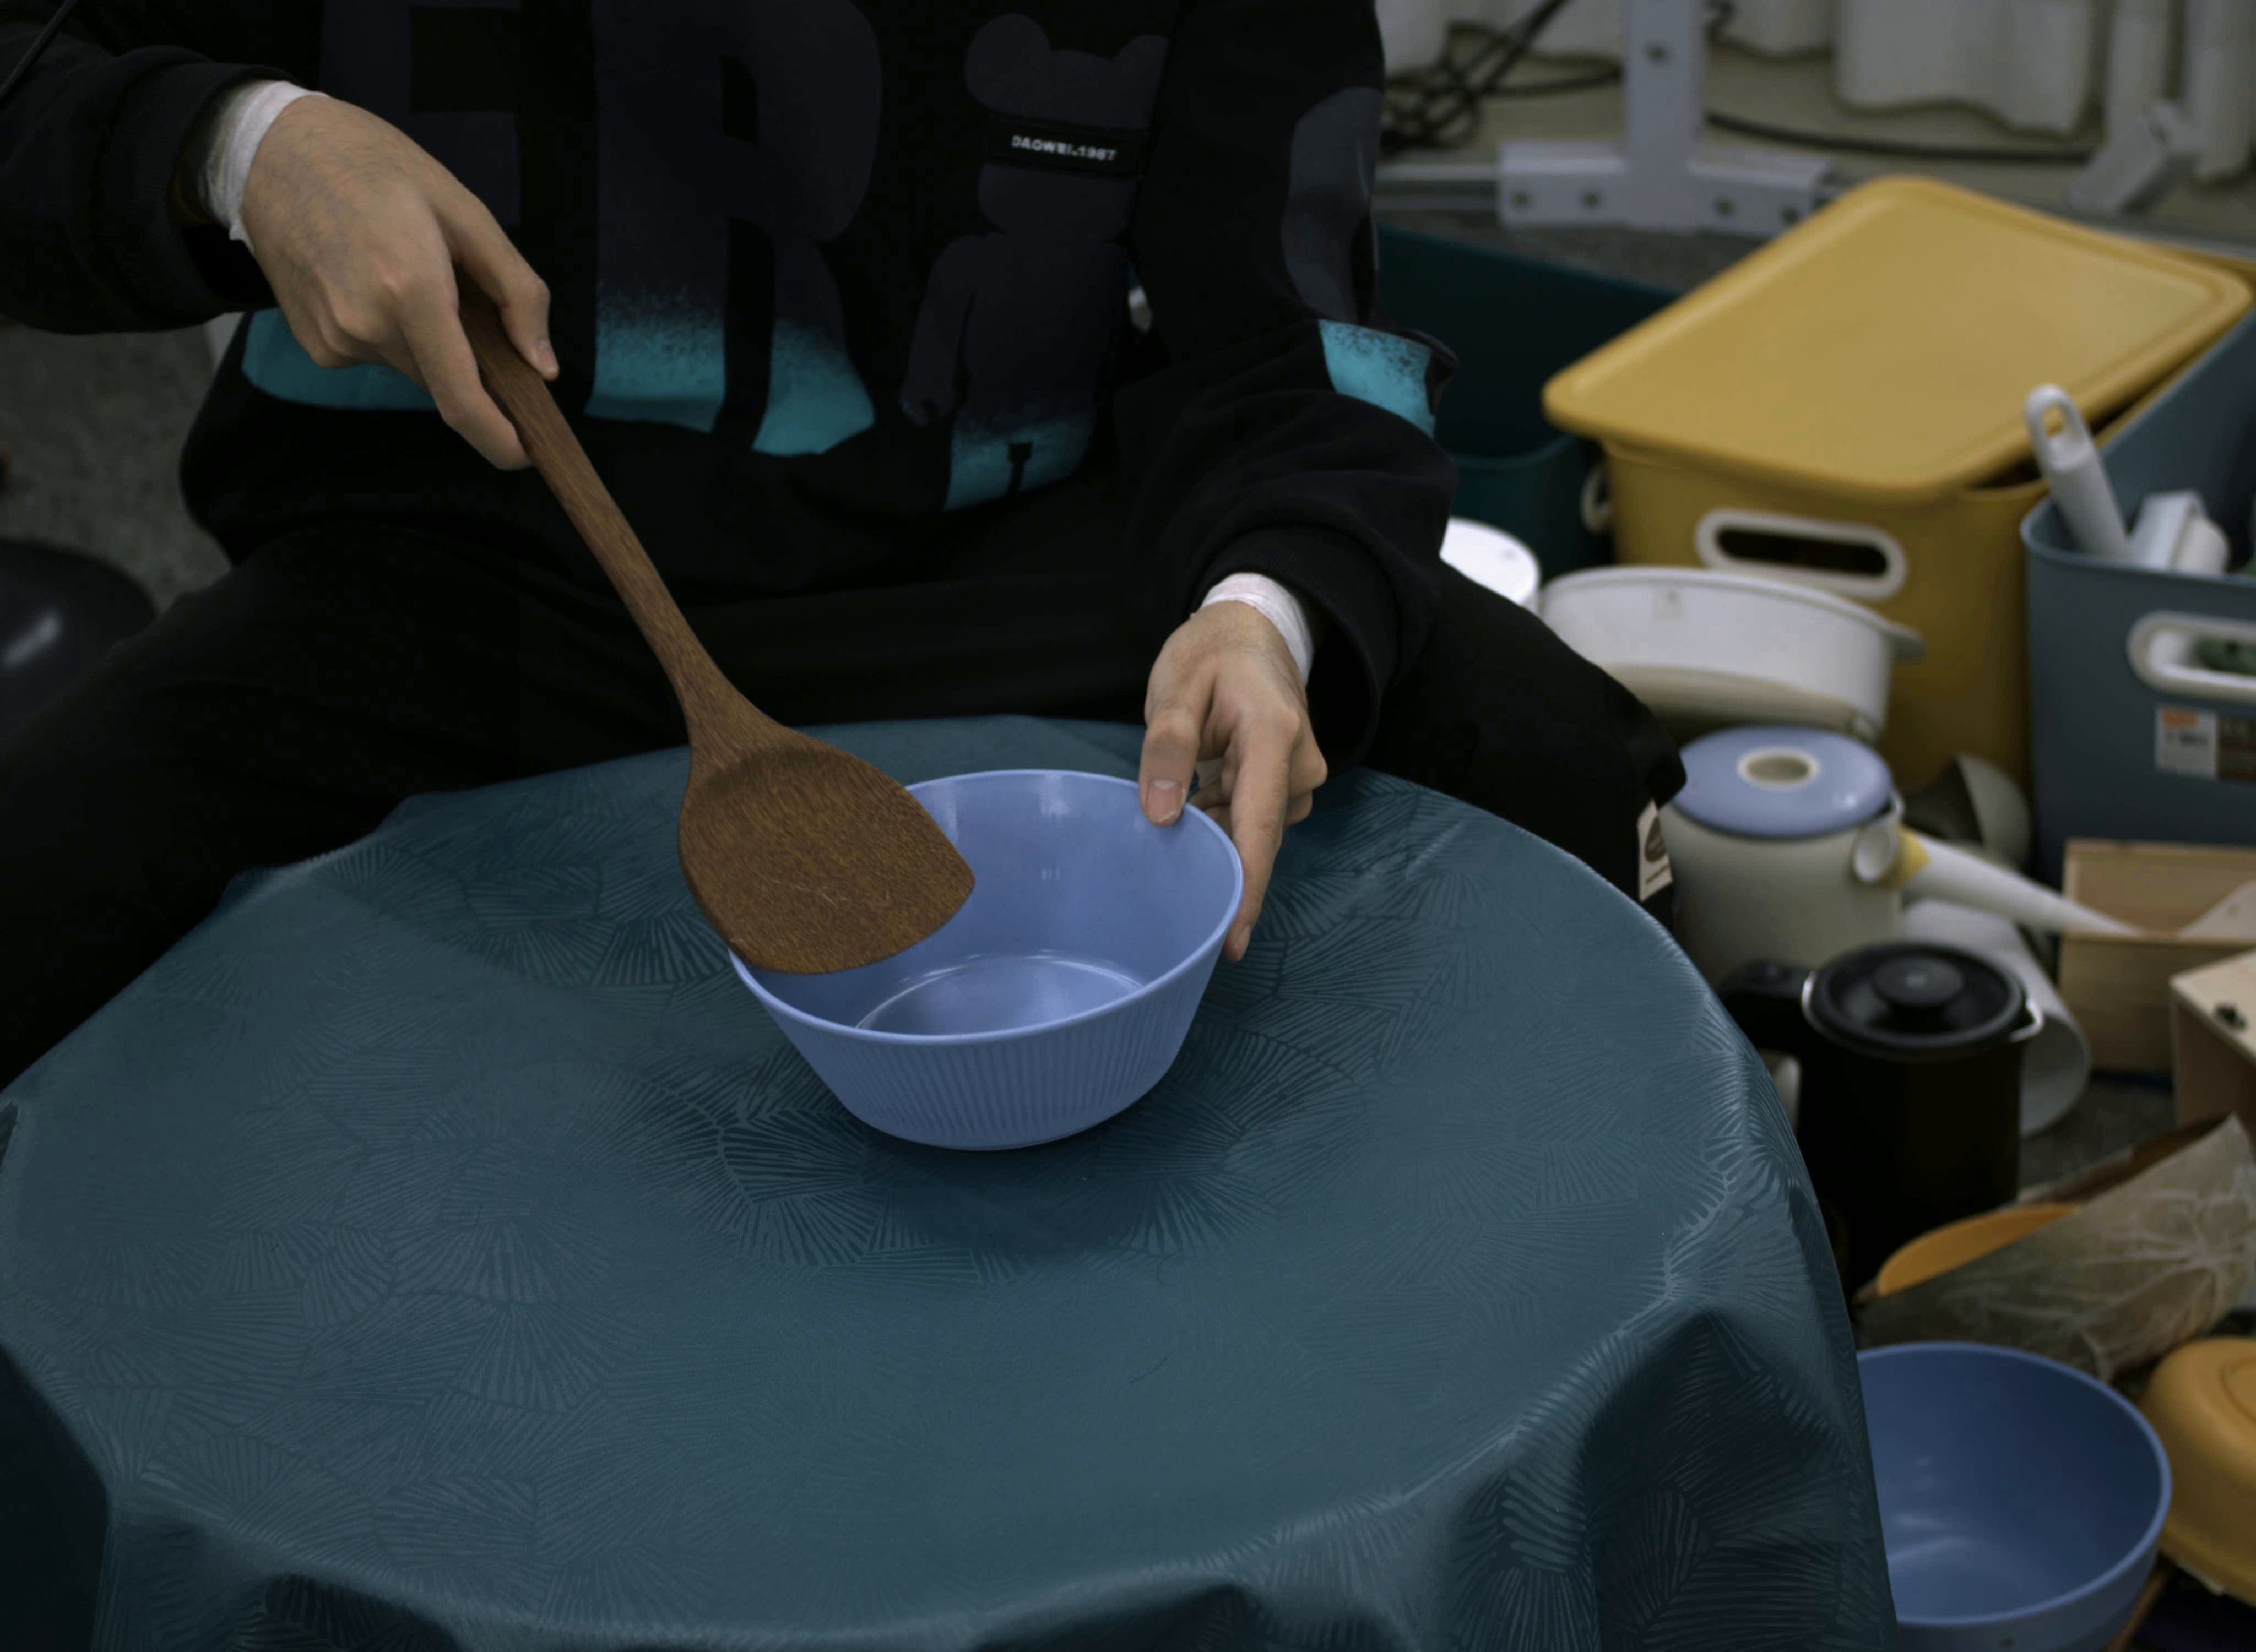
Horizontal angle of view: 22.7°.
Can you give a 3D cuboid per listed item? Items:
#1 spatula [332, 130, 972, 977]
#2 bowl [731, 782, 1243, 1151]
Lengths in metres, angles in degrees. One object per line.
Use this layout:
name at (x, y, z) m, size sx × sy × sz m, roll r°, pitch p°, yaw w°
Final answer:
spatula at (-0.183, -0.103, 1.974) m, size 0.097 × 0.015 × 0.389 m, roll -20°, pitch 64°, yaw -30°
bowl at (-0.045, 0.054, 1.914) m, size 0.175 × 0.069 × 0.179 m, roll -4°, pitch 27°, yaw 2°
